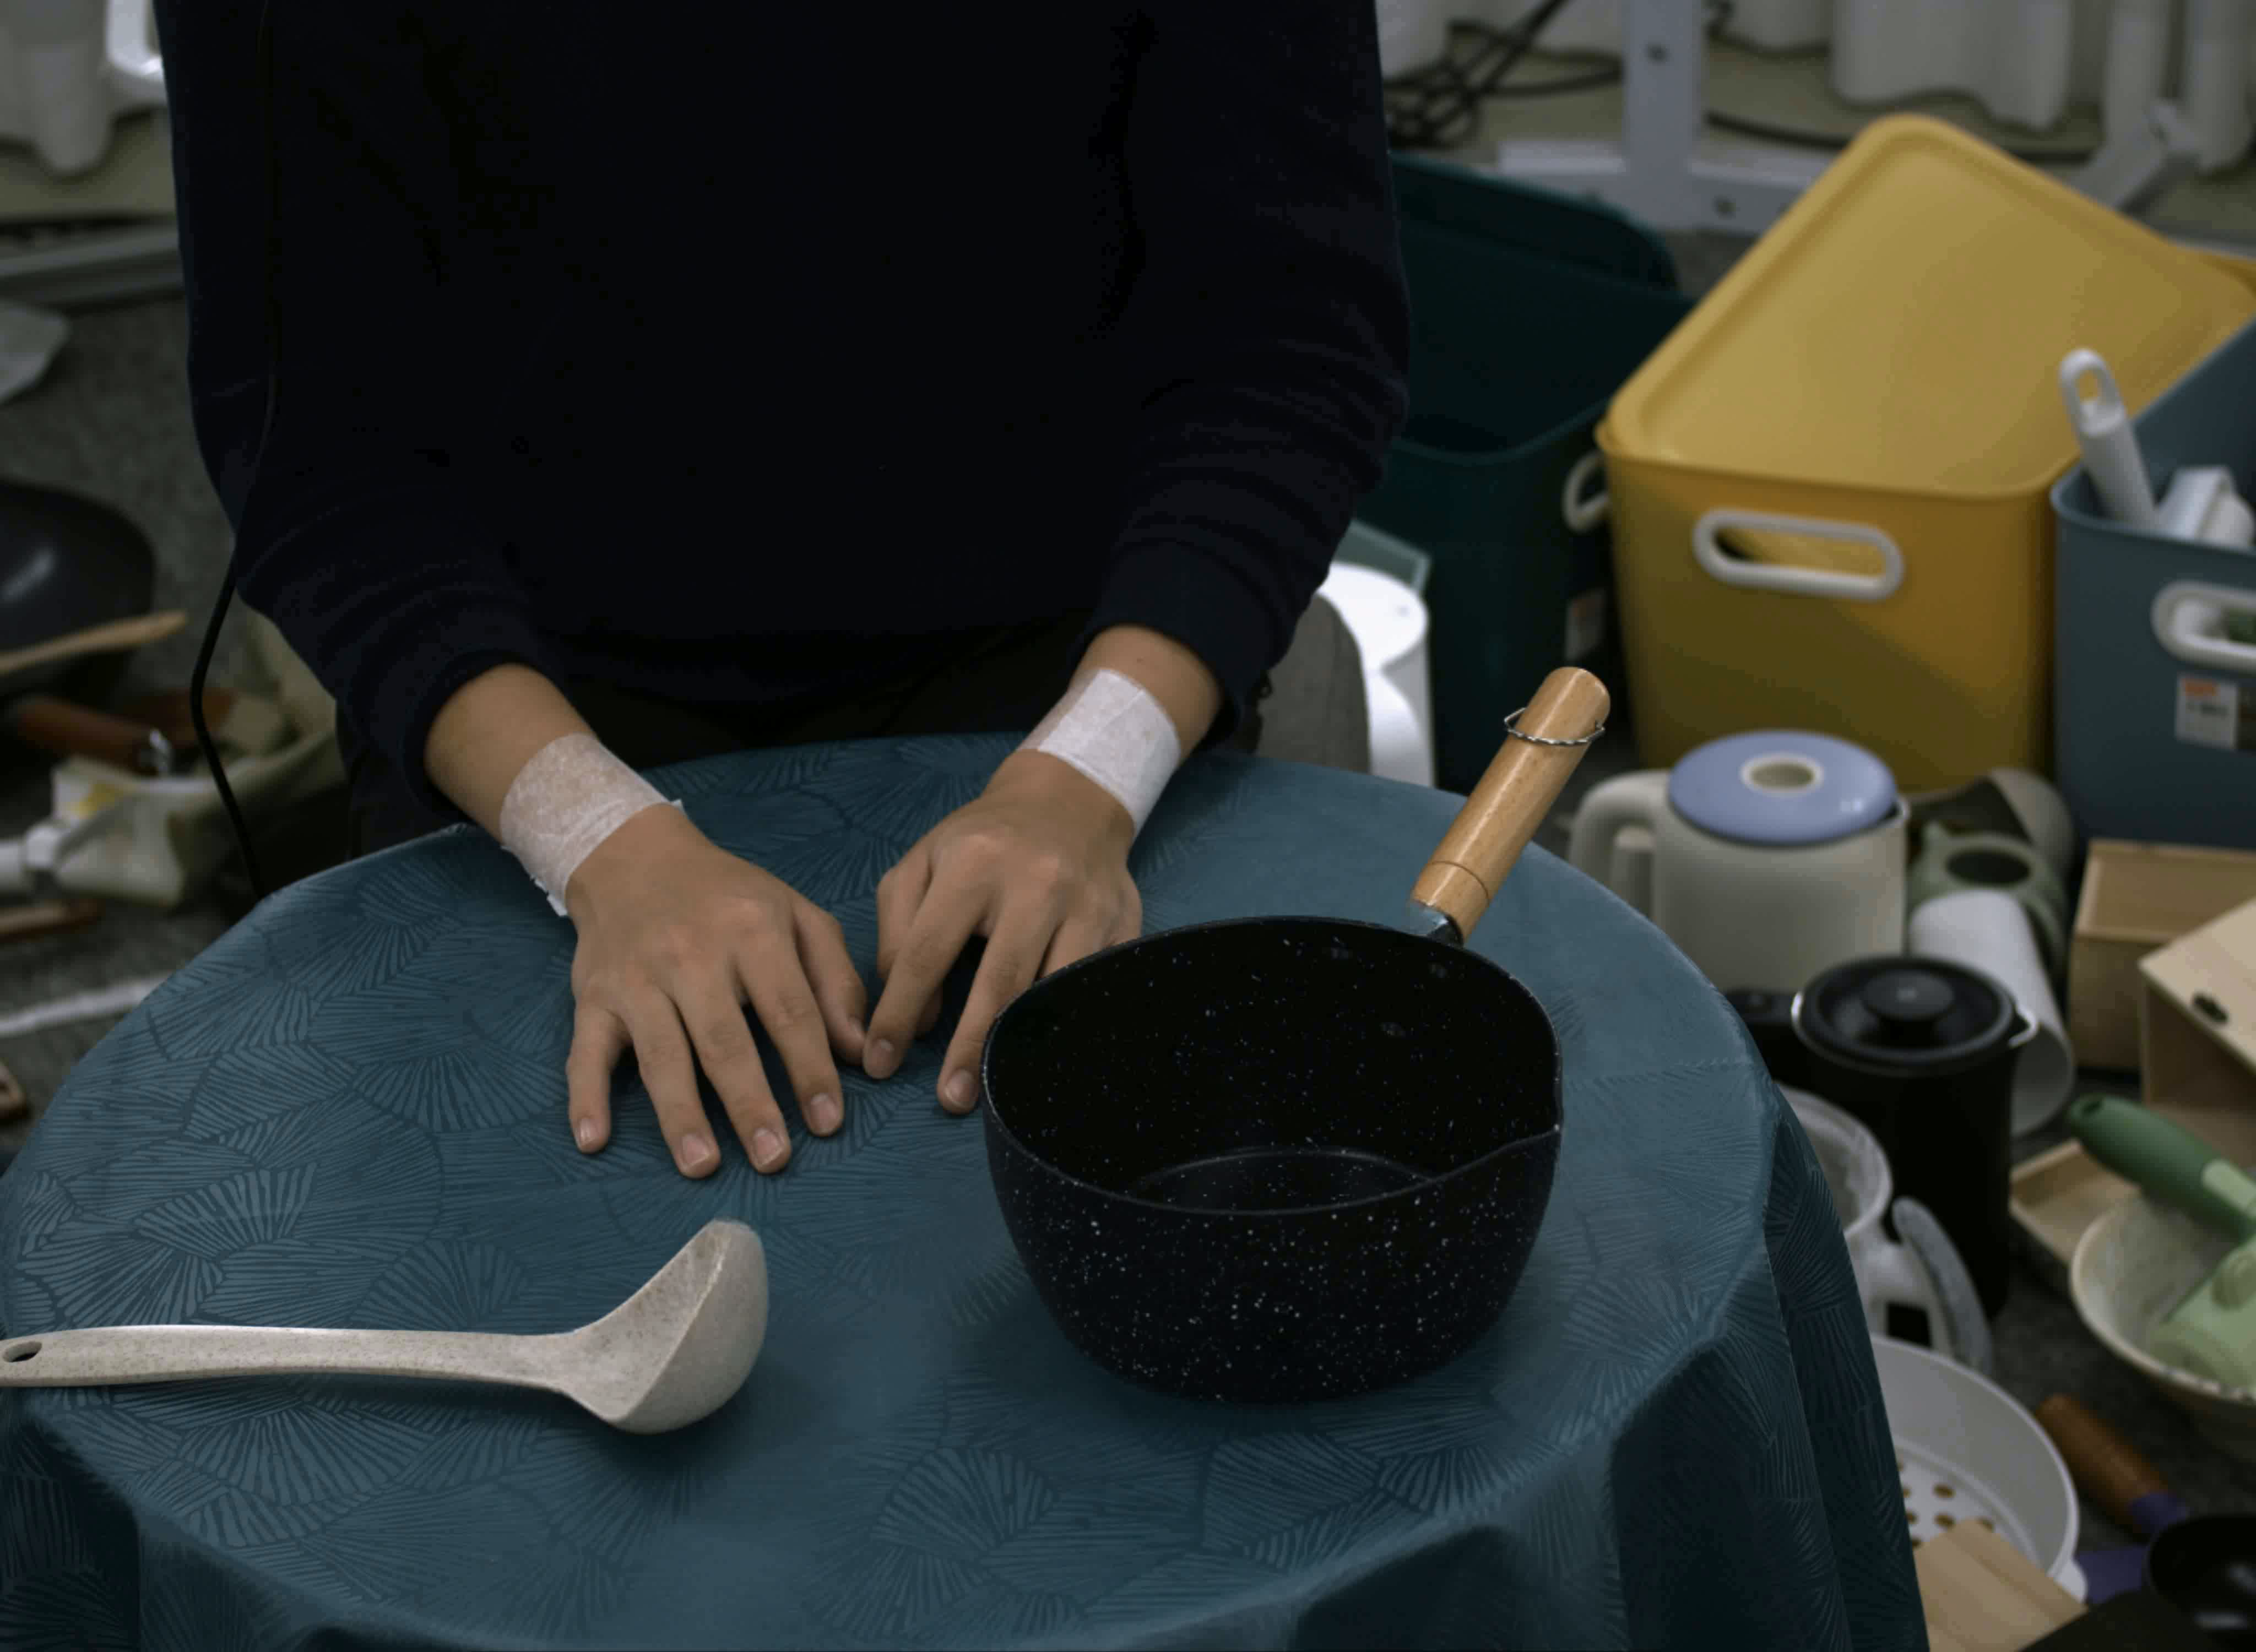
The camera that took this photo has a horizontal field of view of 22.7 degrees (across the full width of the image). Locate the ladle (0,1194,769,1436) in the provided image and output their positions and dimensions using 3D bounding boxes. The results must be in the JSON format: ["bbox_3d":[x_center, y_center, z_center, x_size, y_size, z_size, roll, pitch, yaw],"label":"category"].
[{"bbox_3d":[-0.246,0.152,1.764,0.273,0.068,0.091,0,36,11],"label":"ladle"}]

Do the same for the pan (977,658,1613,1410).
[{"bbox_3d":[0.081,0.064,1.849,0.206,0.107,0.349,9,31,25],"label":"pan"}]
